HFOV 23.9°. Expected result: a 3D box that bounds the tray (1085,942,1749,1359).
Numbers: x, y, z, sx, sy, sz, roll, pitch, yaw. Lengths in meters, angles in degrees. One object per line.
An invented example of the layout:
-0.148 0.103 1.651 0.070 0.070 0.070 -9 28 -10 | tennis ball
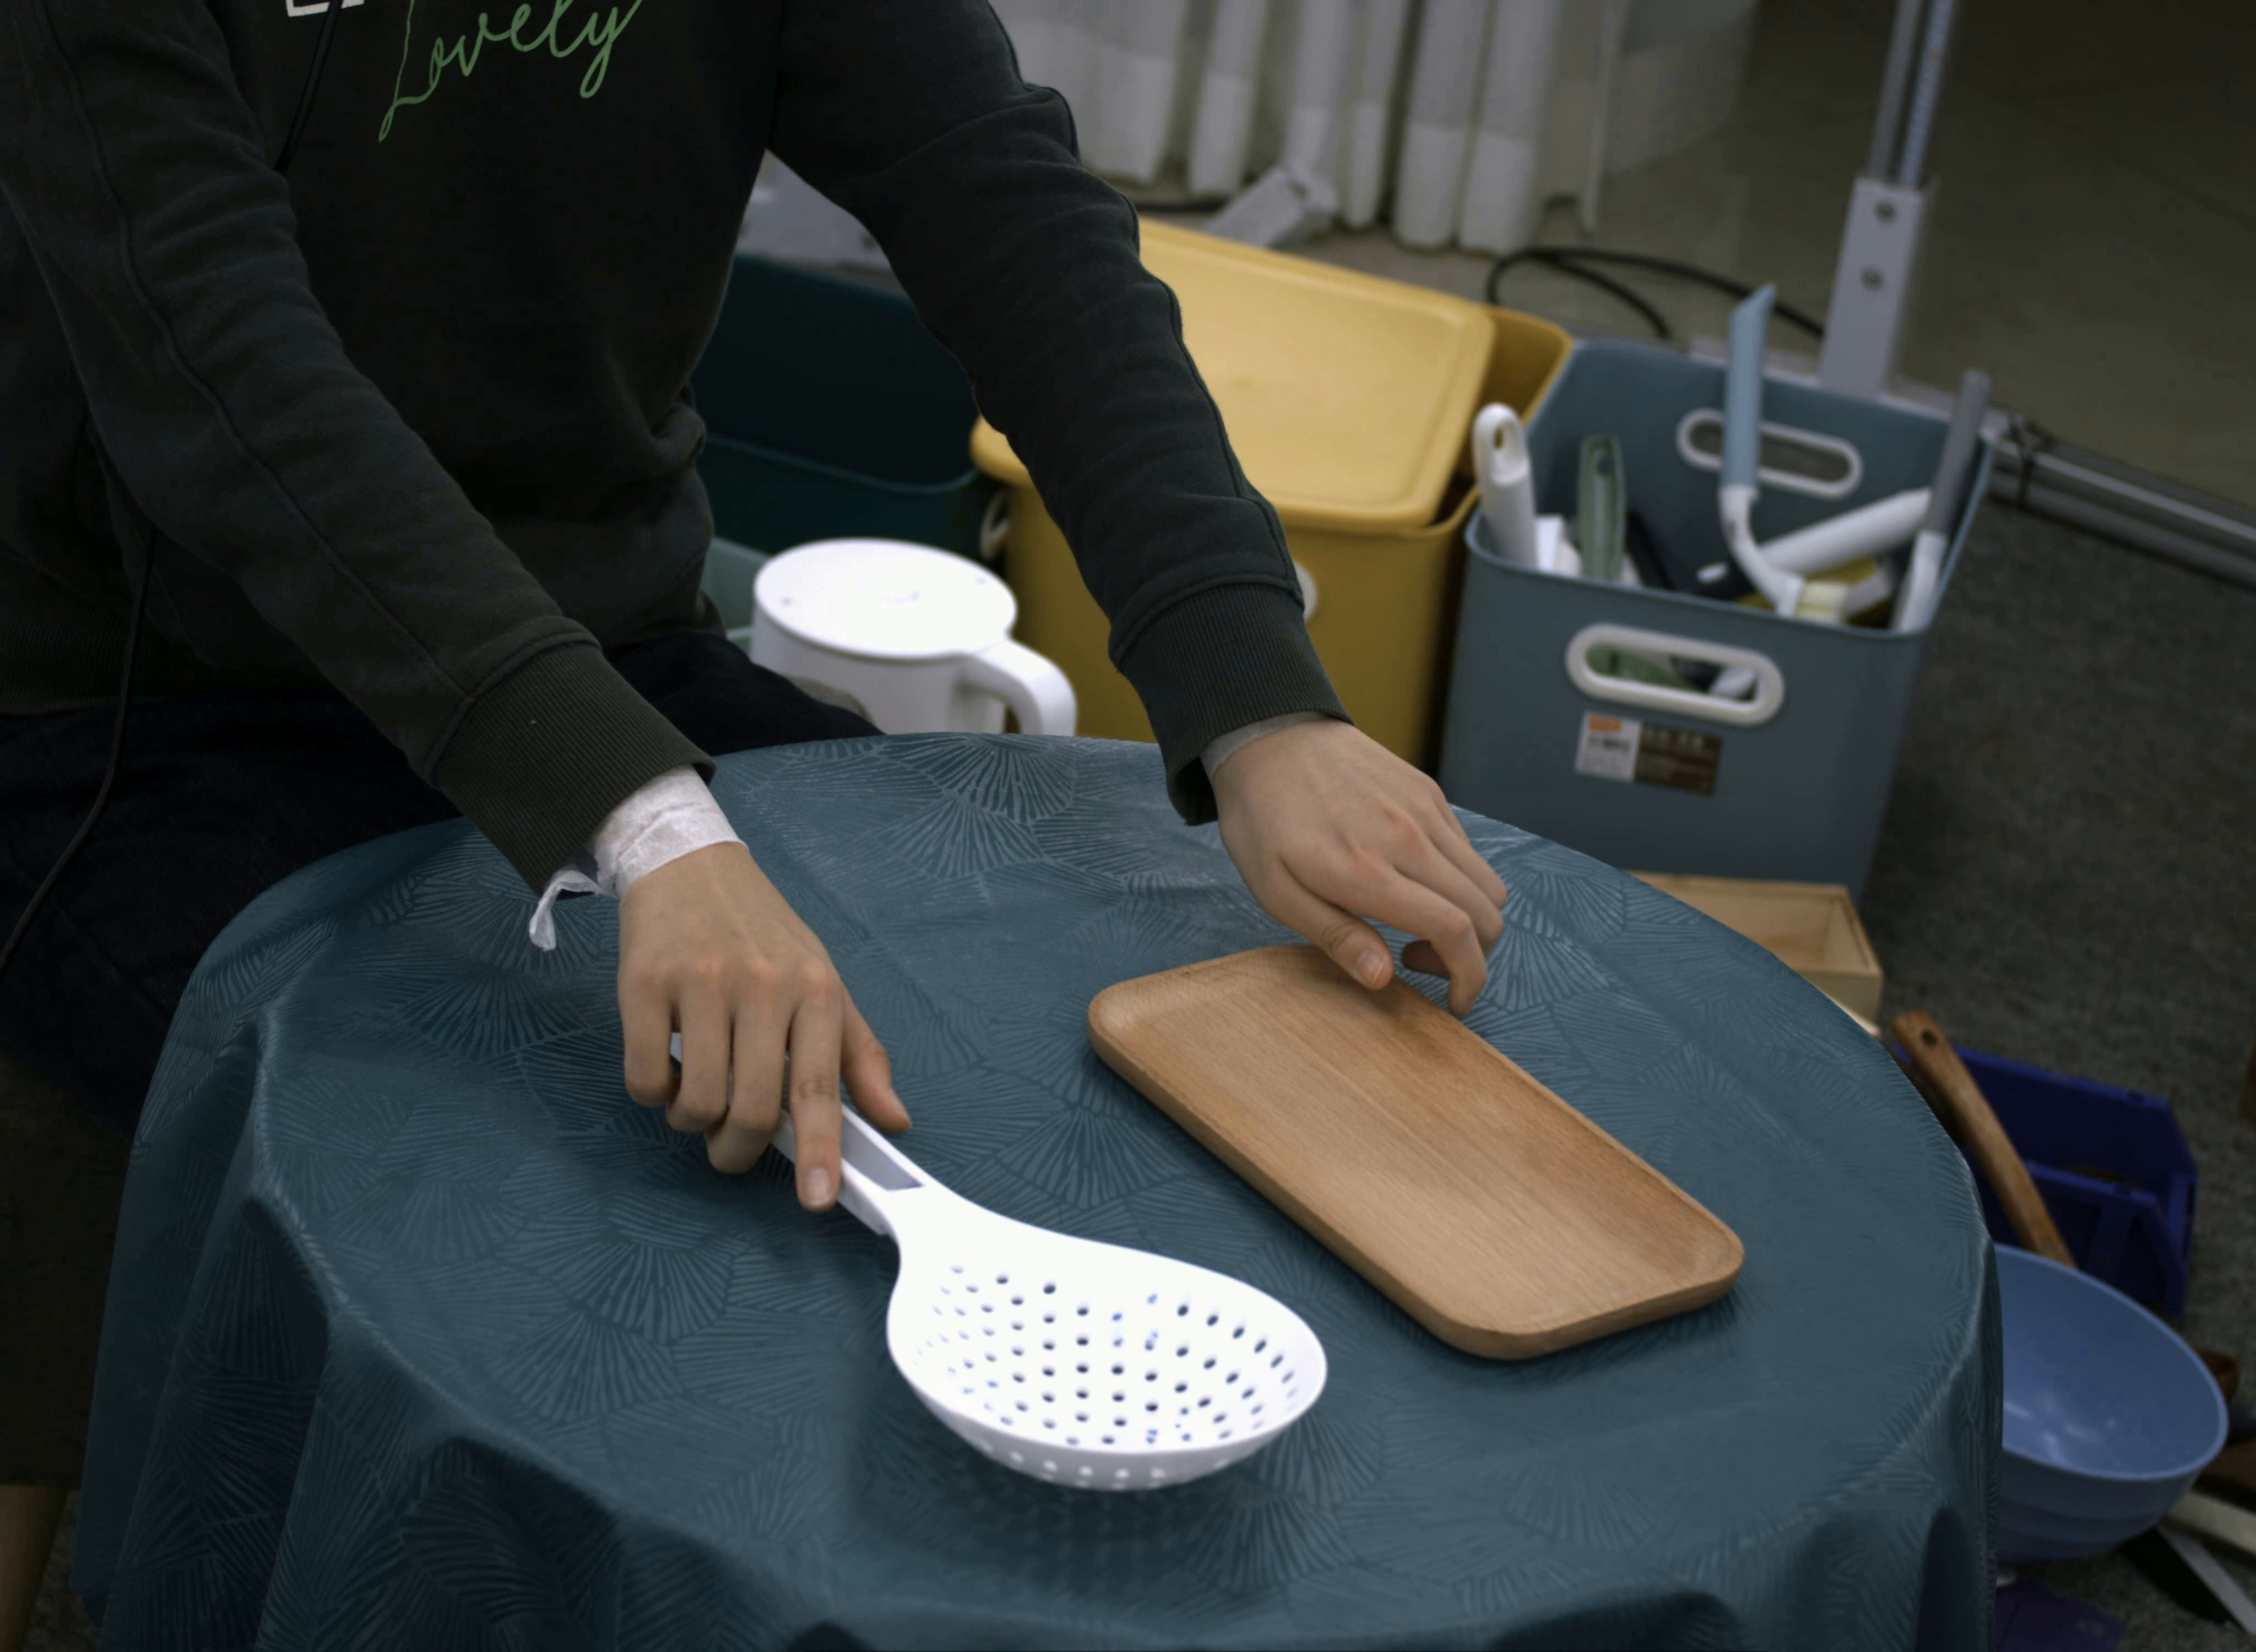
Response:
0.096 0.109 1.833 0.130 0.023 0.253 -10 30 -33 | tray

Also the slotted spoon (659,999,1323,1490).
-0.064 0.129 1.724 0.135 0.045 0.353 -7 29 -31 | slotted spoon
